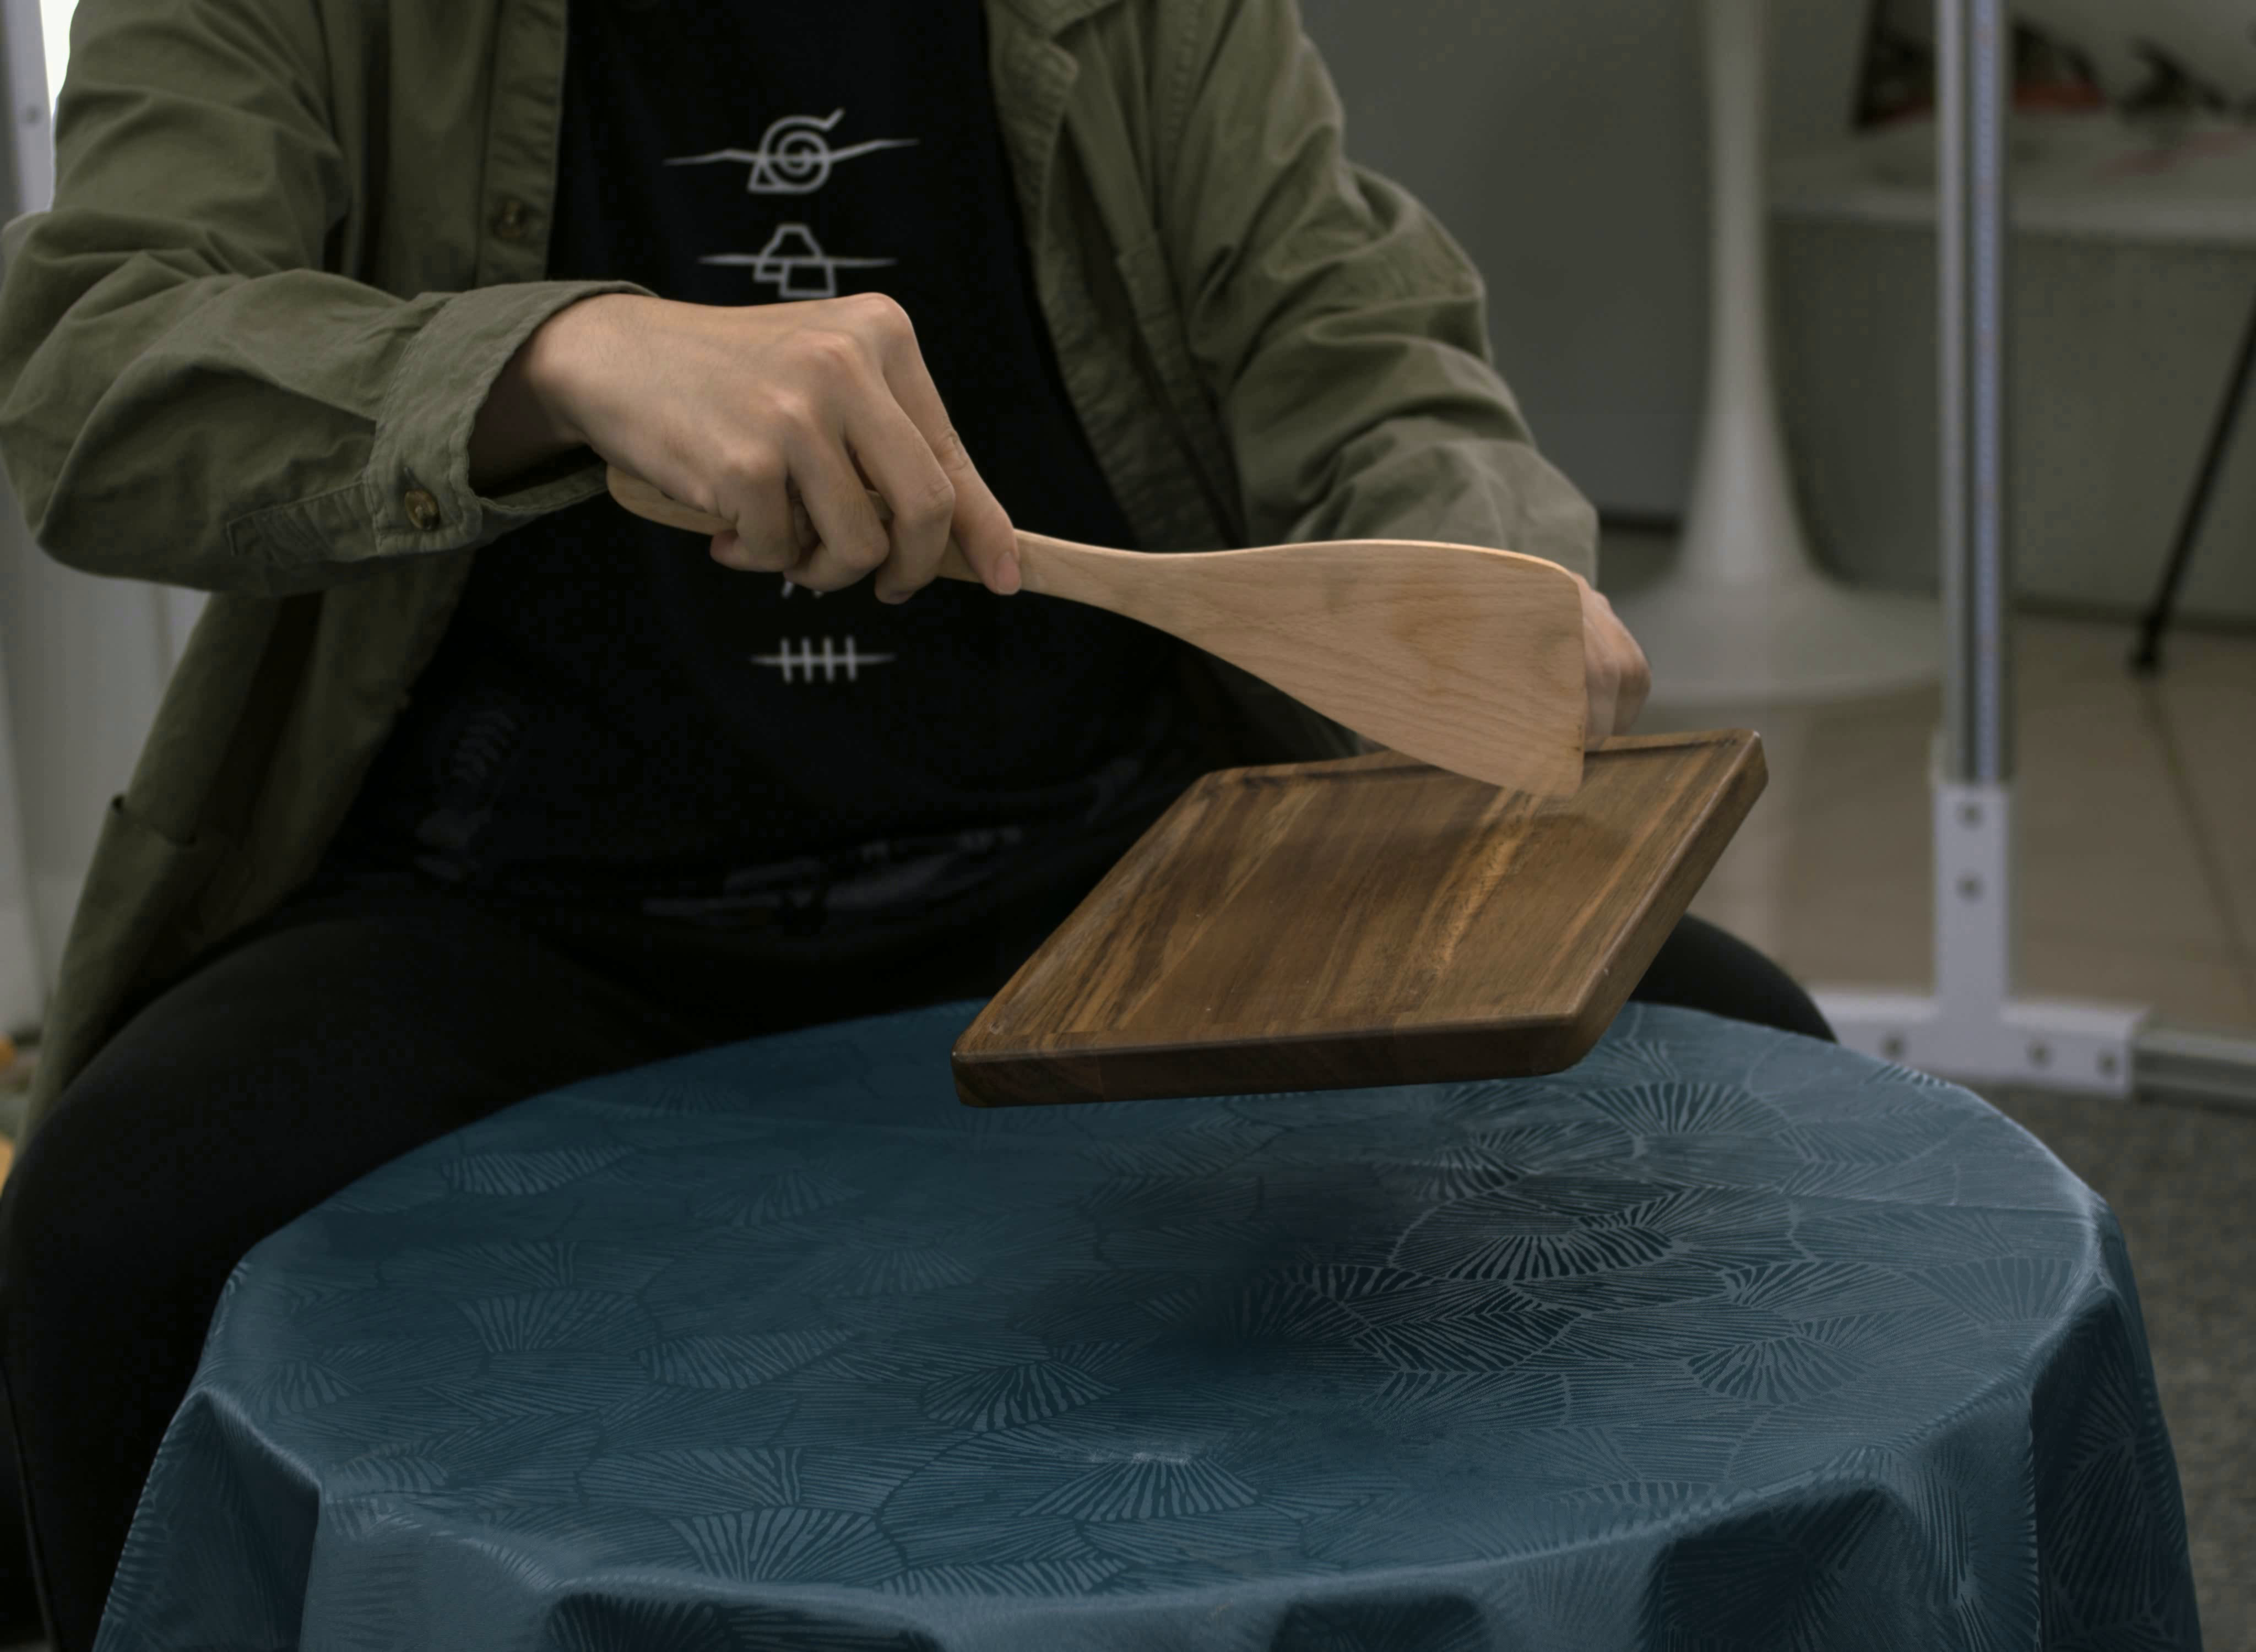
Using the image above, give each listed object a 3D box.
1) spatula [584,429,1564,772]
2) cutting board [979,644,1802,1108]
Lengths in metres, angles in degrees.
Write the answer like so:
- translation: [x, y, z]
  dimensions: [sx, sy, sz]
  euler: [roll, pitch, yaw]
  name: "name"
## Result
- translation: [-0.017, -0.084, 1.702]
  dimensions: [0.325, 0.081, 0.016]
  euler: [11, 25, 9]
  name: "spatula"
- translation: [0.102, 0.007, 1.688]
  dimensions: [0.201, 0.023, 0.349]
  euler: [-5, 18, 24]
  name: "cutting board"
